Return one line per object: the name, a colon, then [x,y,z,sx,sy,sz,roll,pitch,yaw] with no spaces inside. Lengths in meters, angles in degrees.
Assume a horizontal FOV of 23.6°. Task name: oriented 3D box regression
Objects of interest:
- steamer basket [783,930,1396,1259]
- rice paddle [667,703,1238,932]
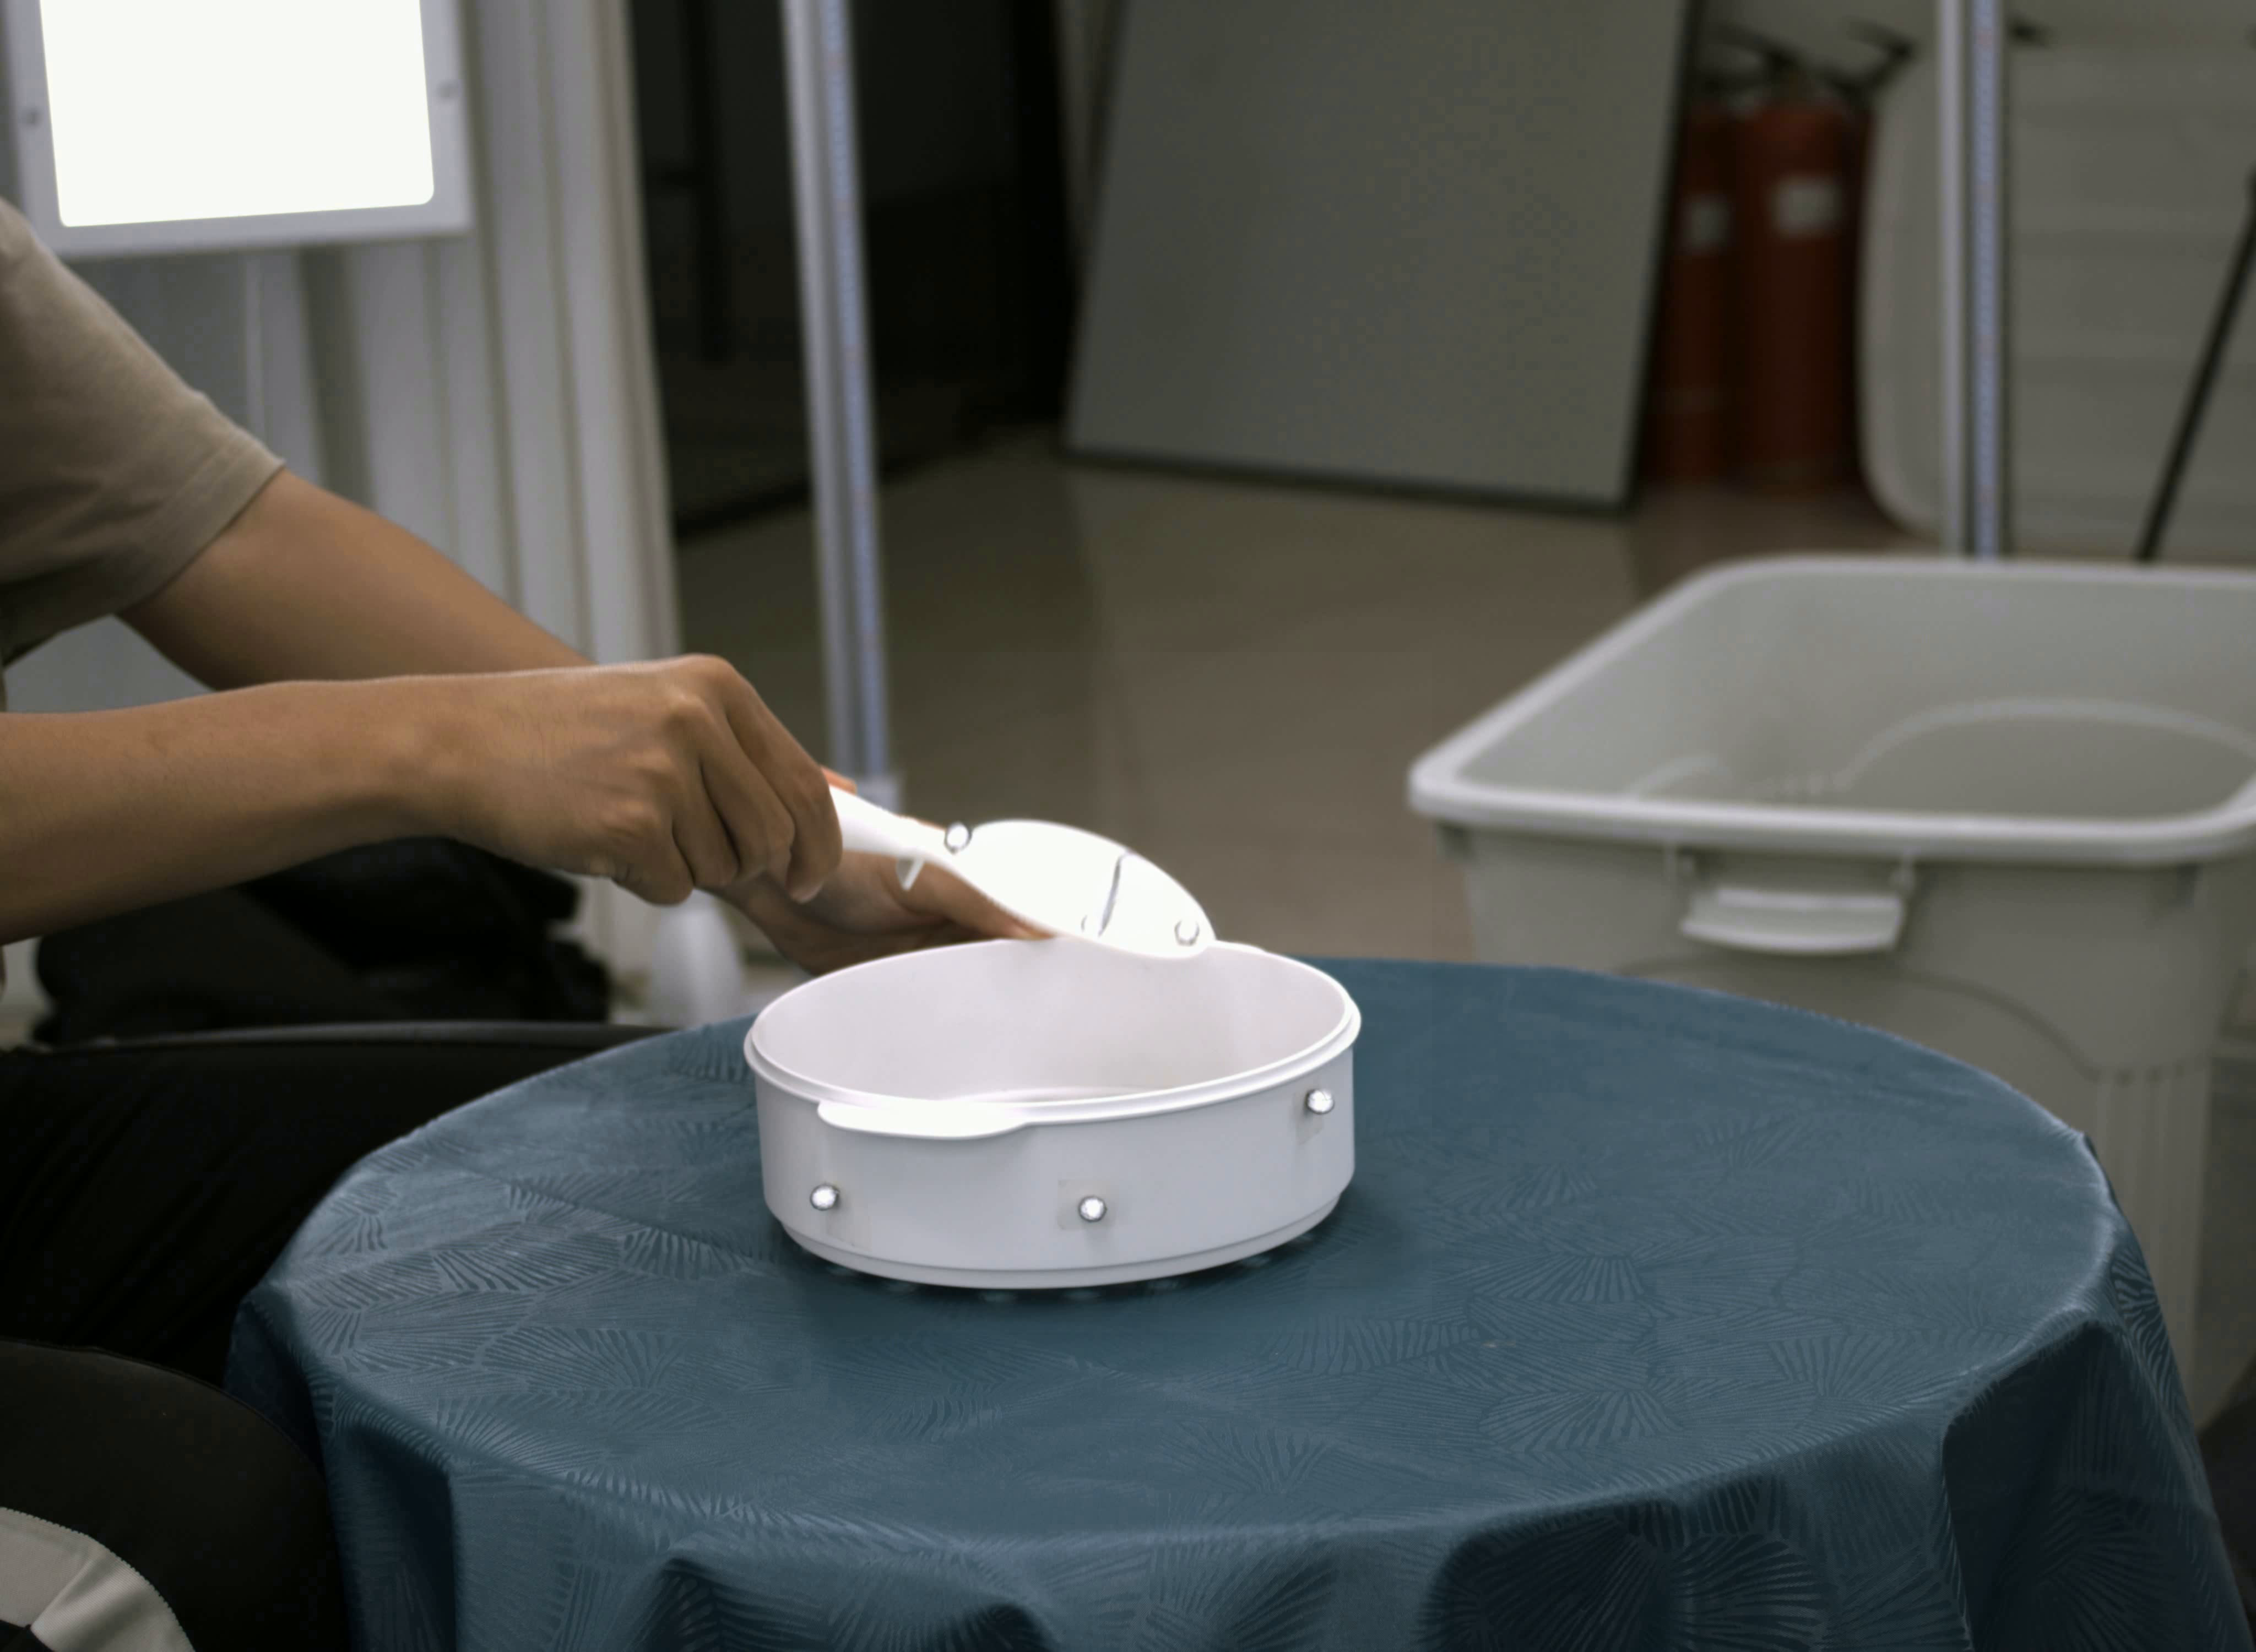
steamer basket: [-0.012,0.087,1.757,0.202,0.070,0.227,3,12,26]
rice paddle: [-0.051,-0.002,1.753,0.201,0.030,0.069,15,29,-24]
